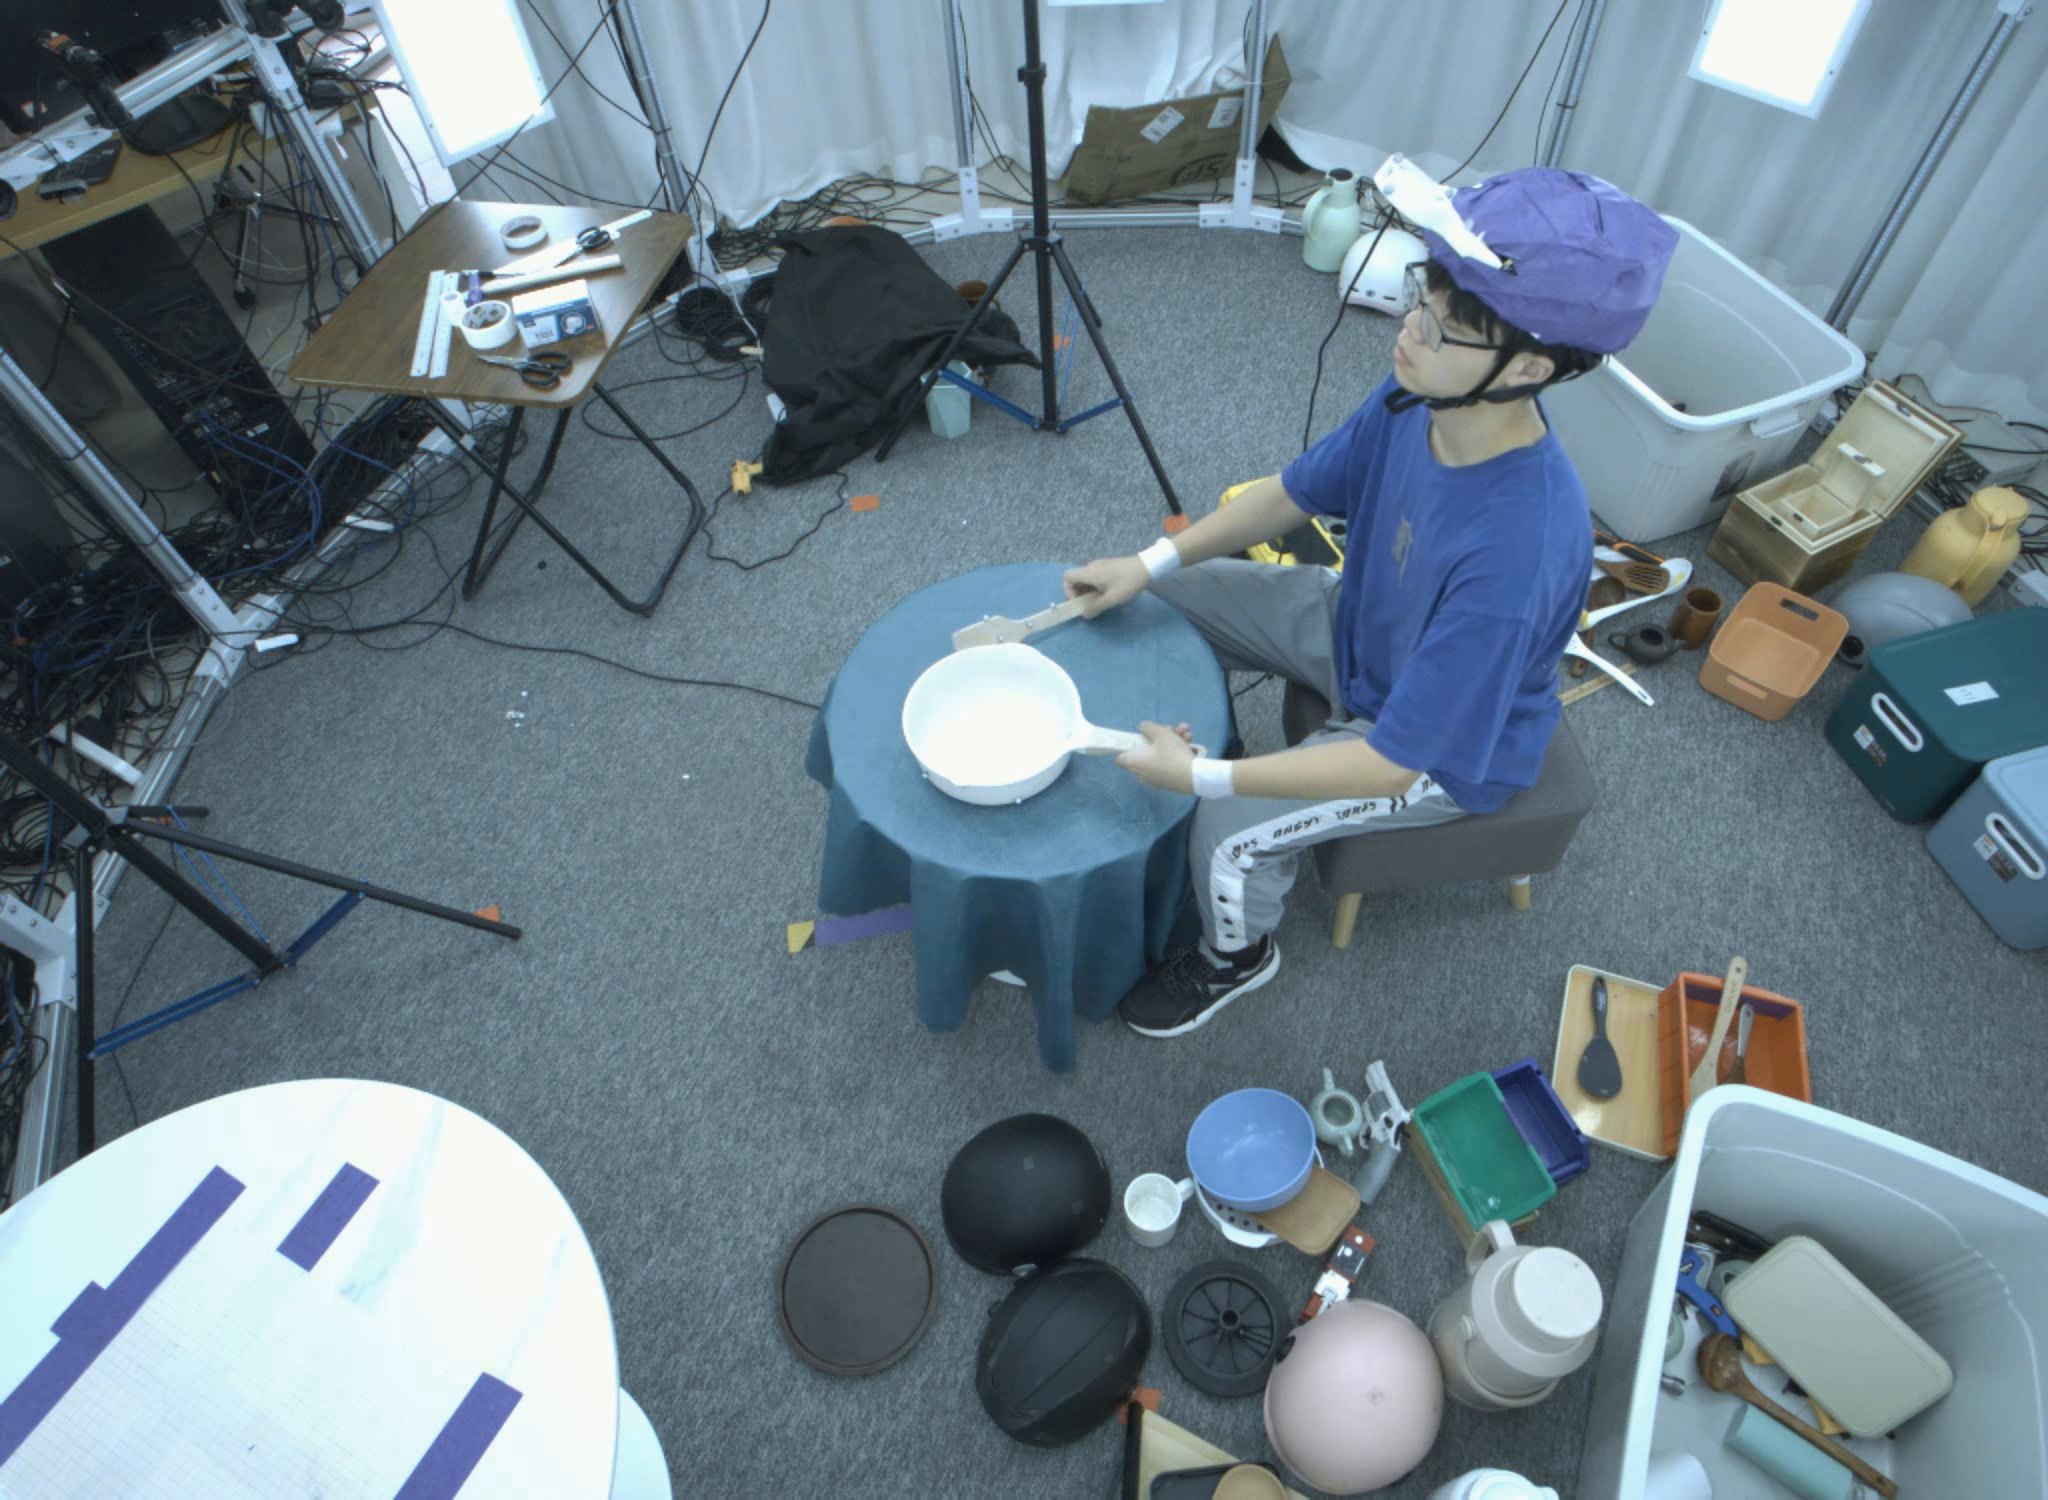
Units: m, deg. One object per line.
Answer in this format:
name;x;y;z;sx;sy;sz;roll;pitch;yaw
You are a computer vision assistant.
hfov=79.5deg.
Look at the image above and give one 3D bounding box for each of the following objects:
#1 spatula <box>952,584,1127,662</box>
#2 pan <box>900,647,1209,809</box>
spatula;0.029;-0.198;1.891;0.295;0.010;0.073;-23;102;-17
pan;0.041;-0.009;1.722;0.431;0.103;0.263;13;54;11
